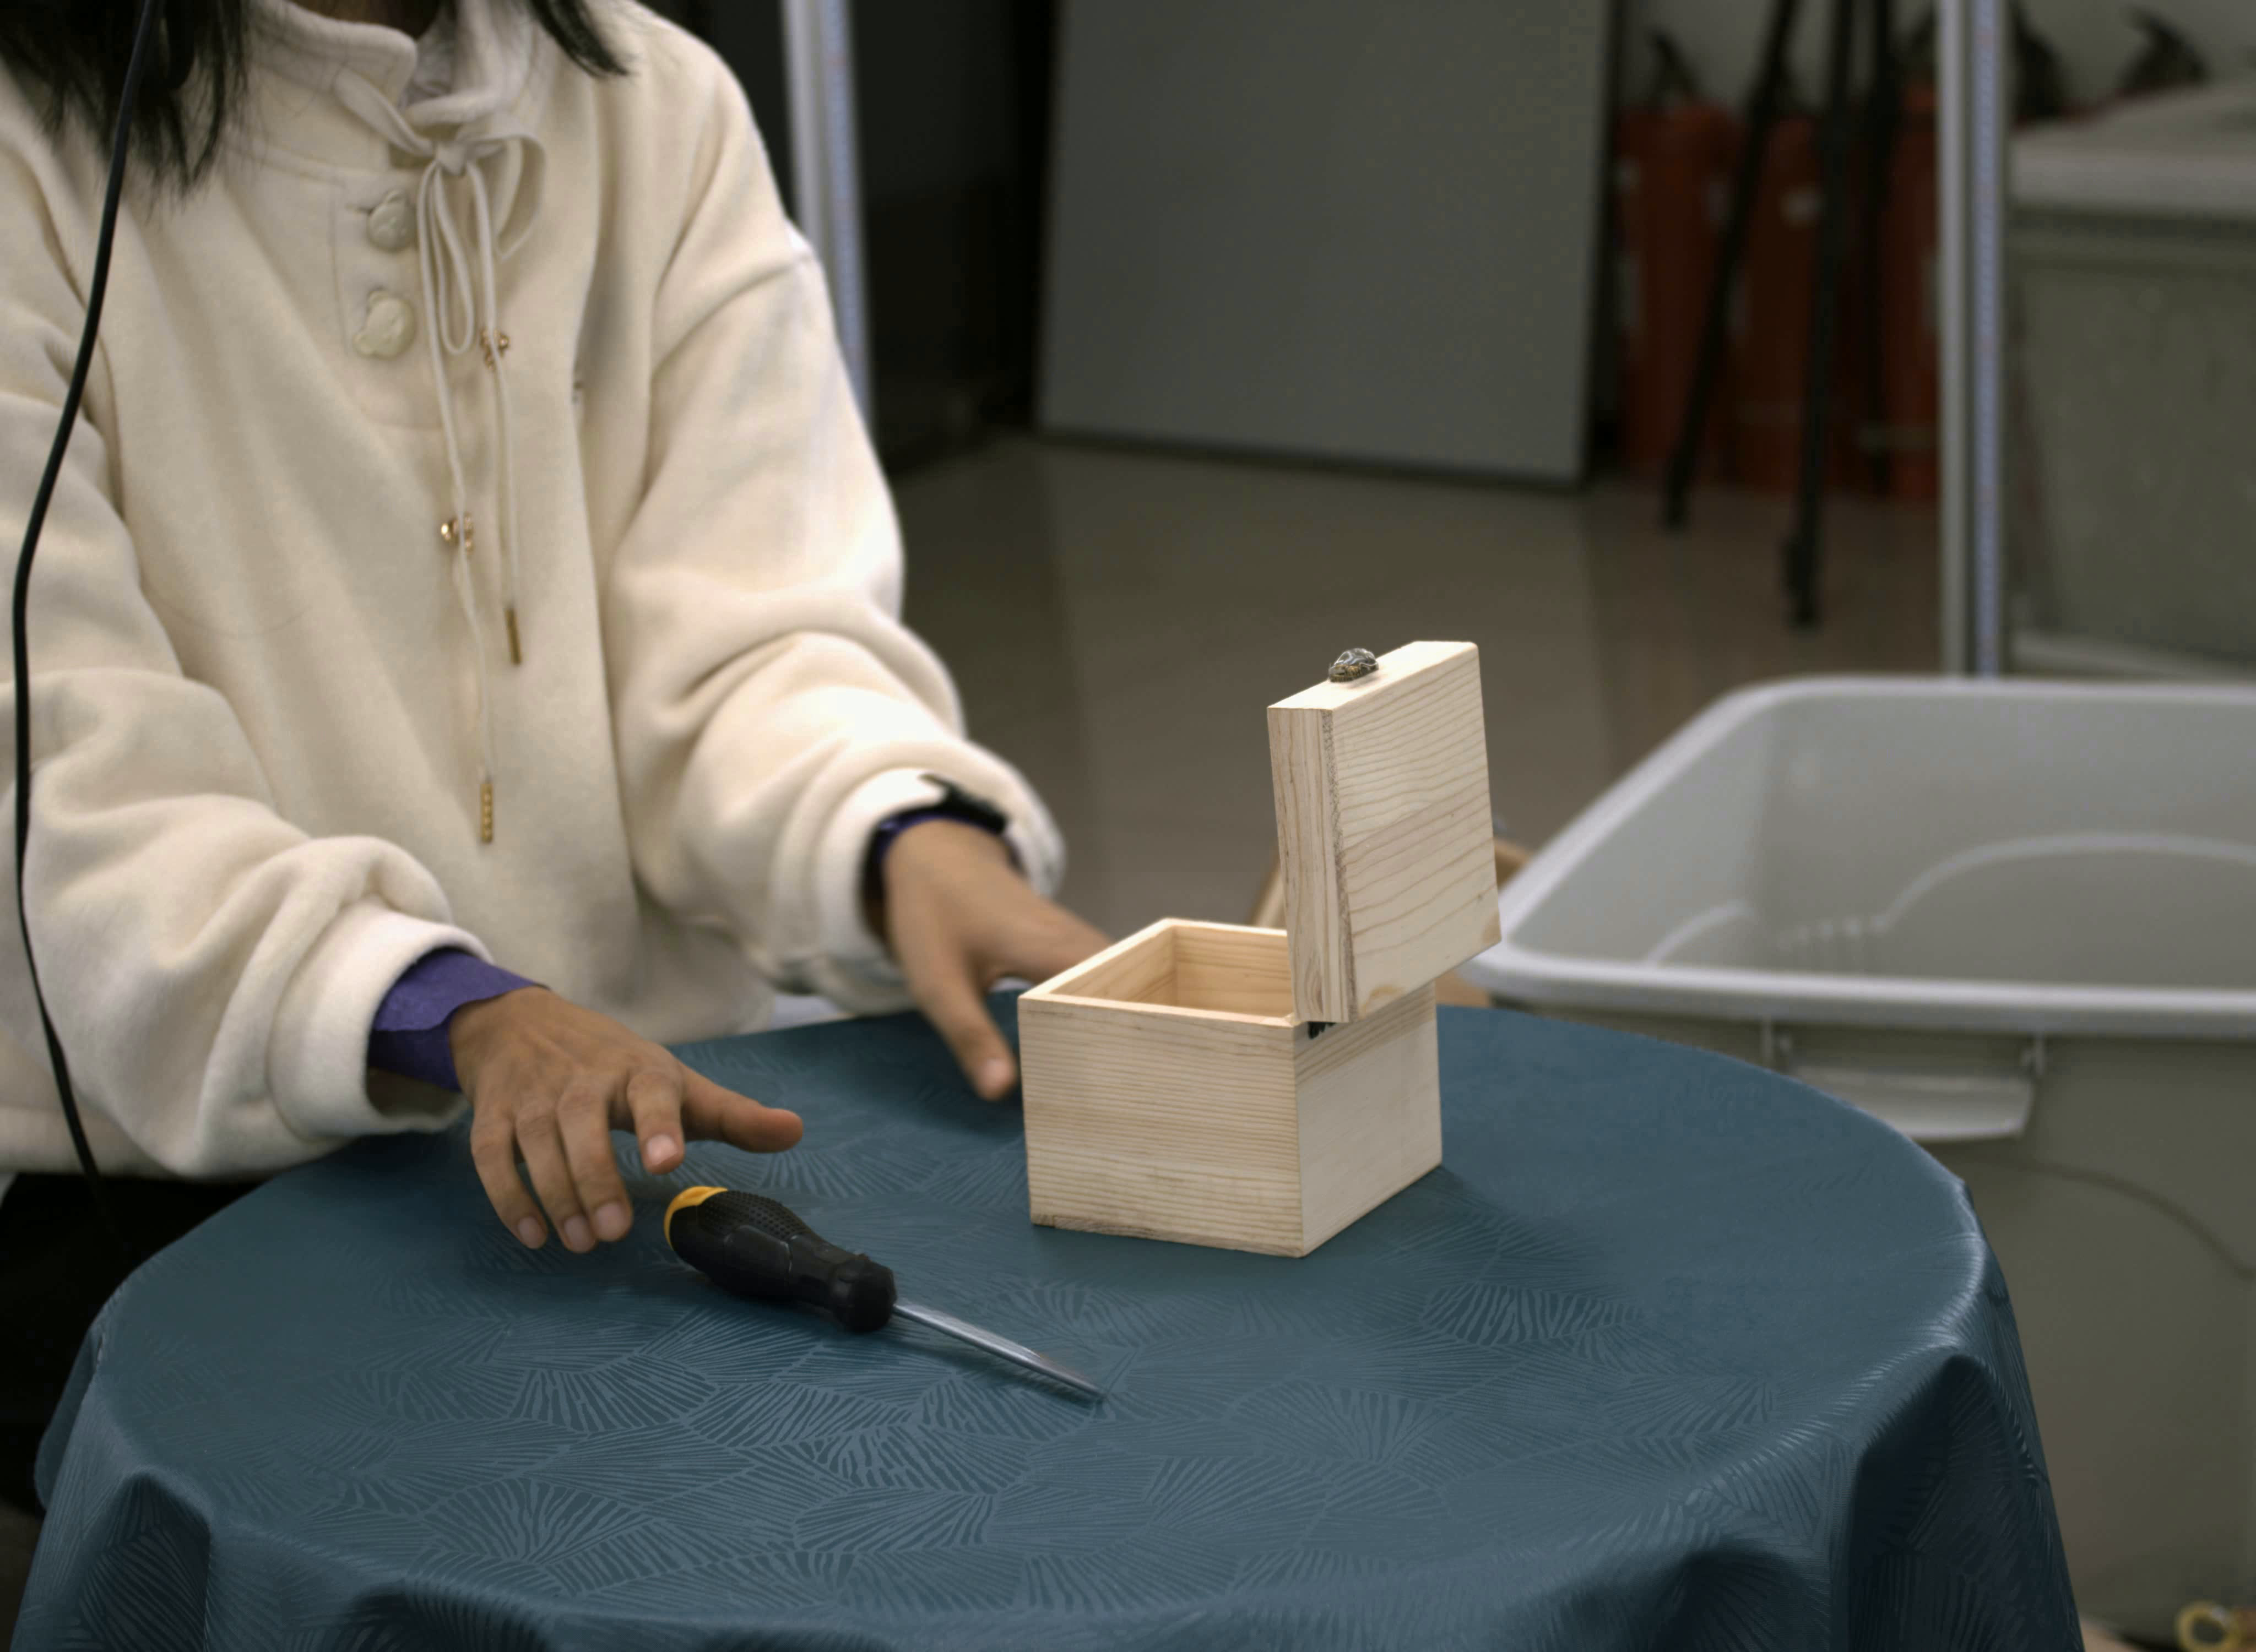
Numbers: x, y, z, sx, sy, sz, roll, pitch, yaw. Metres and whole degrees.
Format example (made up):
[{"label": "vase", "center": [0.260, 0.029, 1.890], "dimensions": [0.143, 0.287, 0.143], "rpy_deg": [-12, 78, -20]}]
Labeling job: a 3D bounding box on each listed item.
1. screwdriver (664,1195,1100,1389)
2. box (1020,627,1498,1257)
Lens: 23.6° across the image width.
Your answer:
[{"label": "screwdriver", "center": [-0.078, 0.146, 1.646], "dimensions": [0.031, 0.032, 0.200], "rpy_deg": [-14, 19, -37]}, {"label": "box", "center": [0.040, 0.031, 1.734], "dimensions": [0.134, 0.186, 0.101], "rpy_deg": [4, 15, 29]}]
